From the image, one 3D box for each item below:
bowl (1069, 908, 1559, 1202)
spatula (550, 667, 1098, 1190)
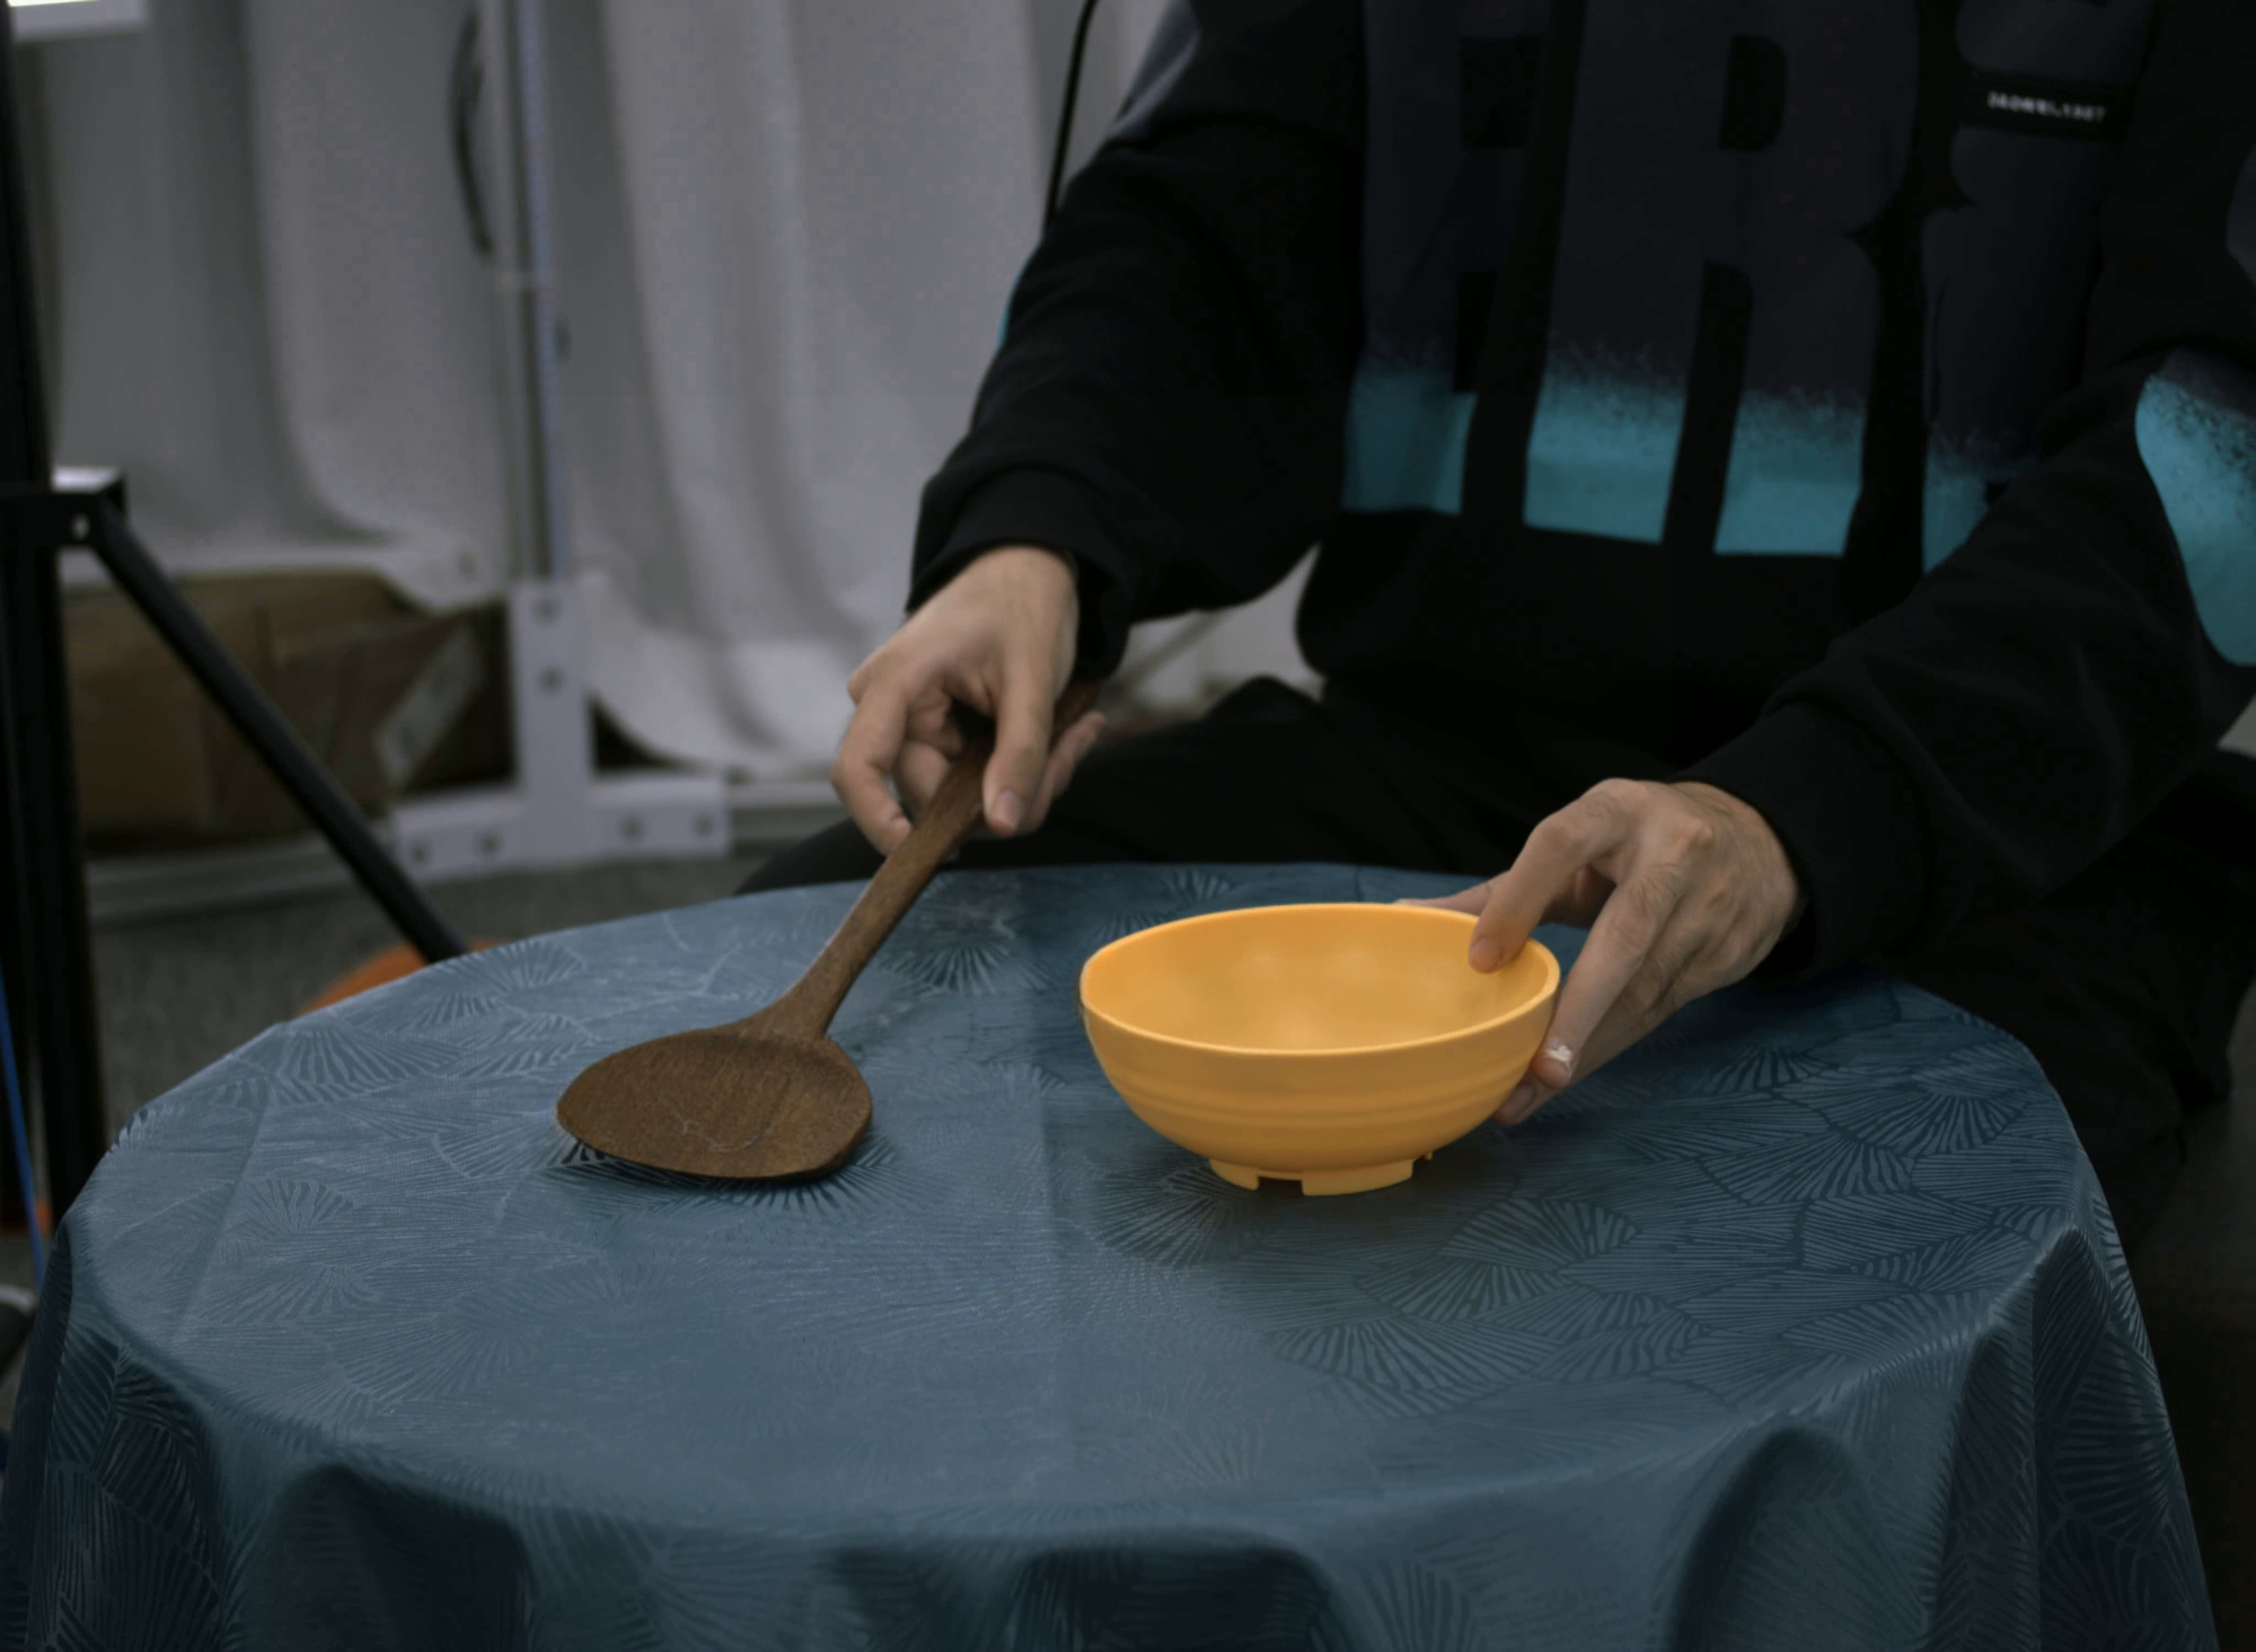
[{"bbox_3d":[0.055,0.073,1.571,0.144,0.060,0.146,-1,15,-1],"label":"bowl"},{"bbox_3d":[-0.078,0.024,1.743,0.097,0.016,0.383,10,28,15],"label":"spatula"}]
